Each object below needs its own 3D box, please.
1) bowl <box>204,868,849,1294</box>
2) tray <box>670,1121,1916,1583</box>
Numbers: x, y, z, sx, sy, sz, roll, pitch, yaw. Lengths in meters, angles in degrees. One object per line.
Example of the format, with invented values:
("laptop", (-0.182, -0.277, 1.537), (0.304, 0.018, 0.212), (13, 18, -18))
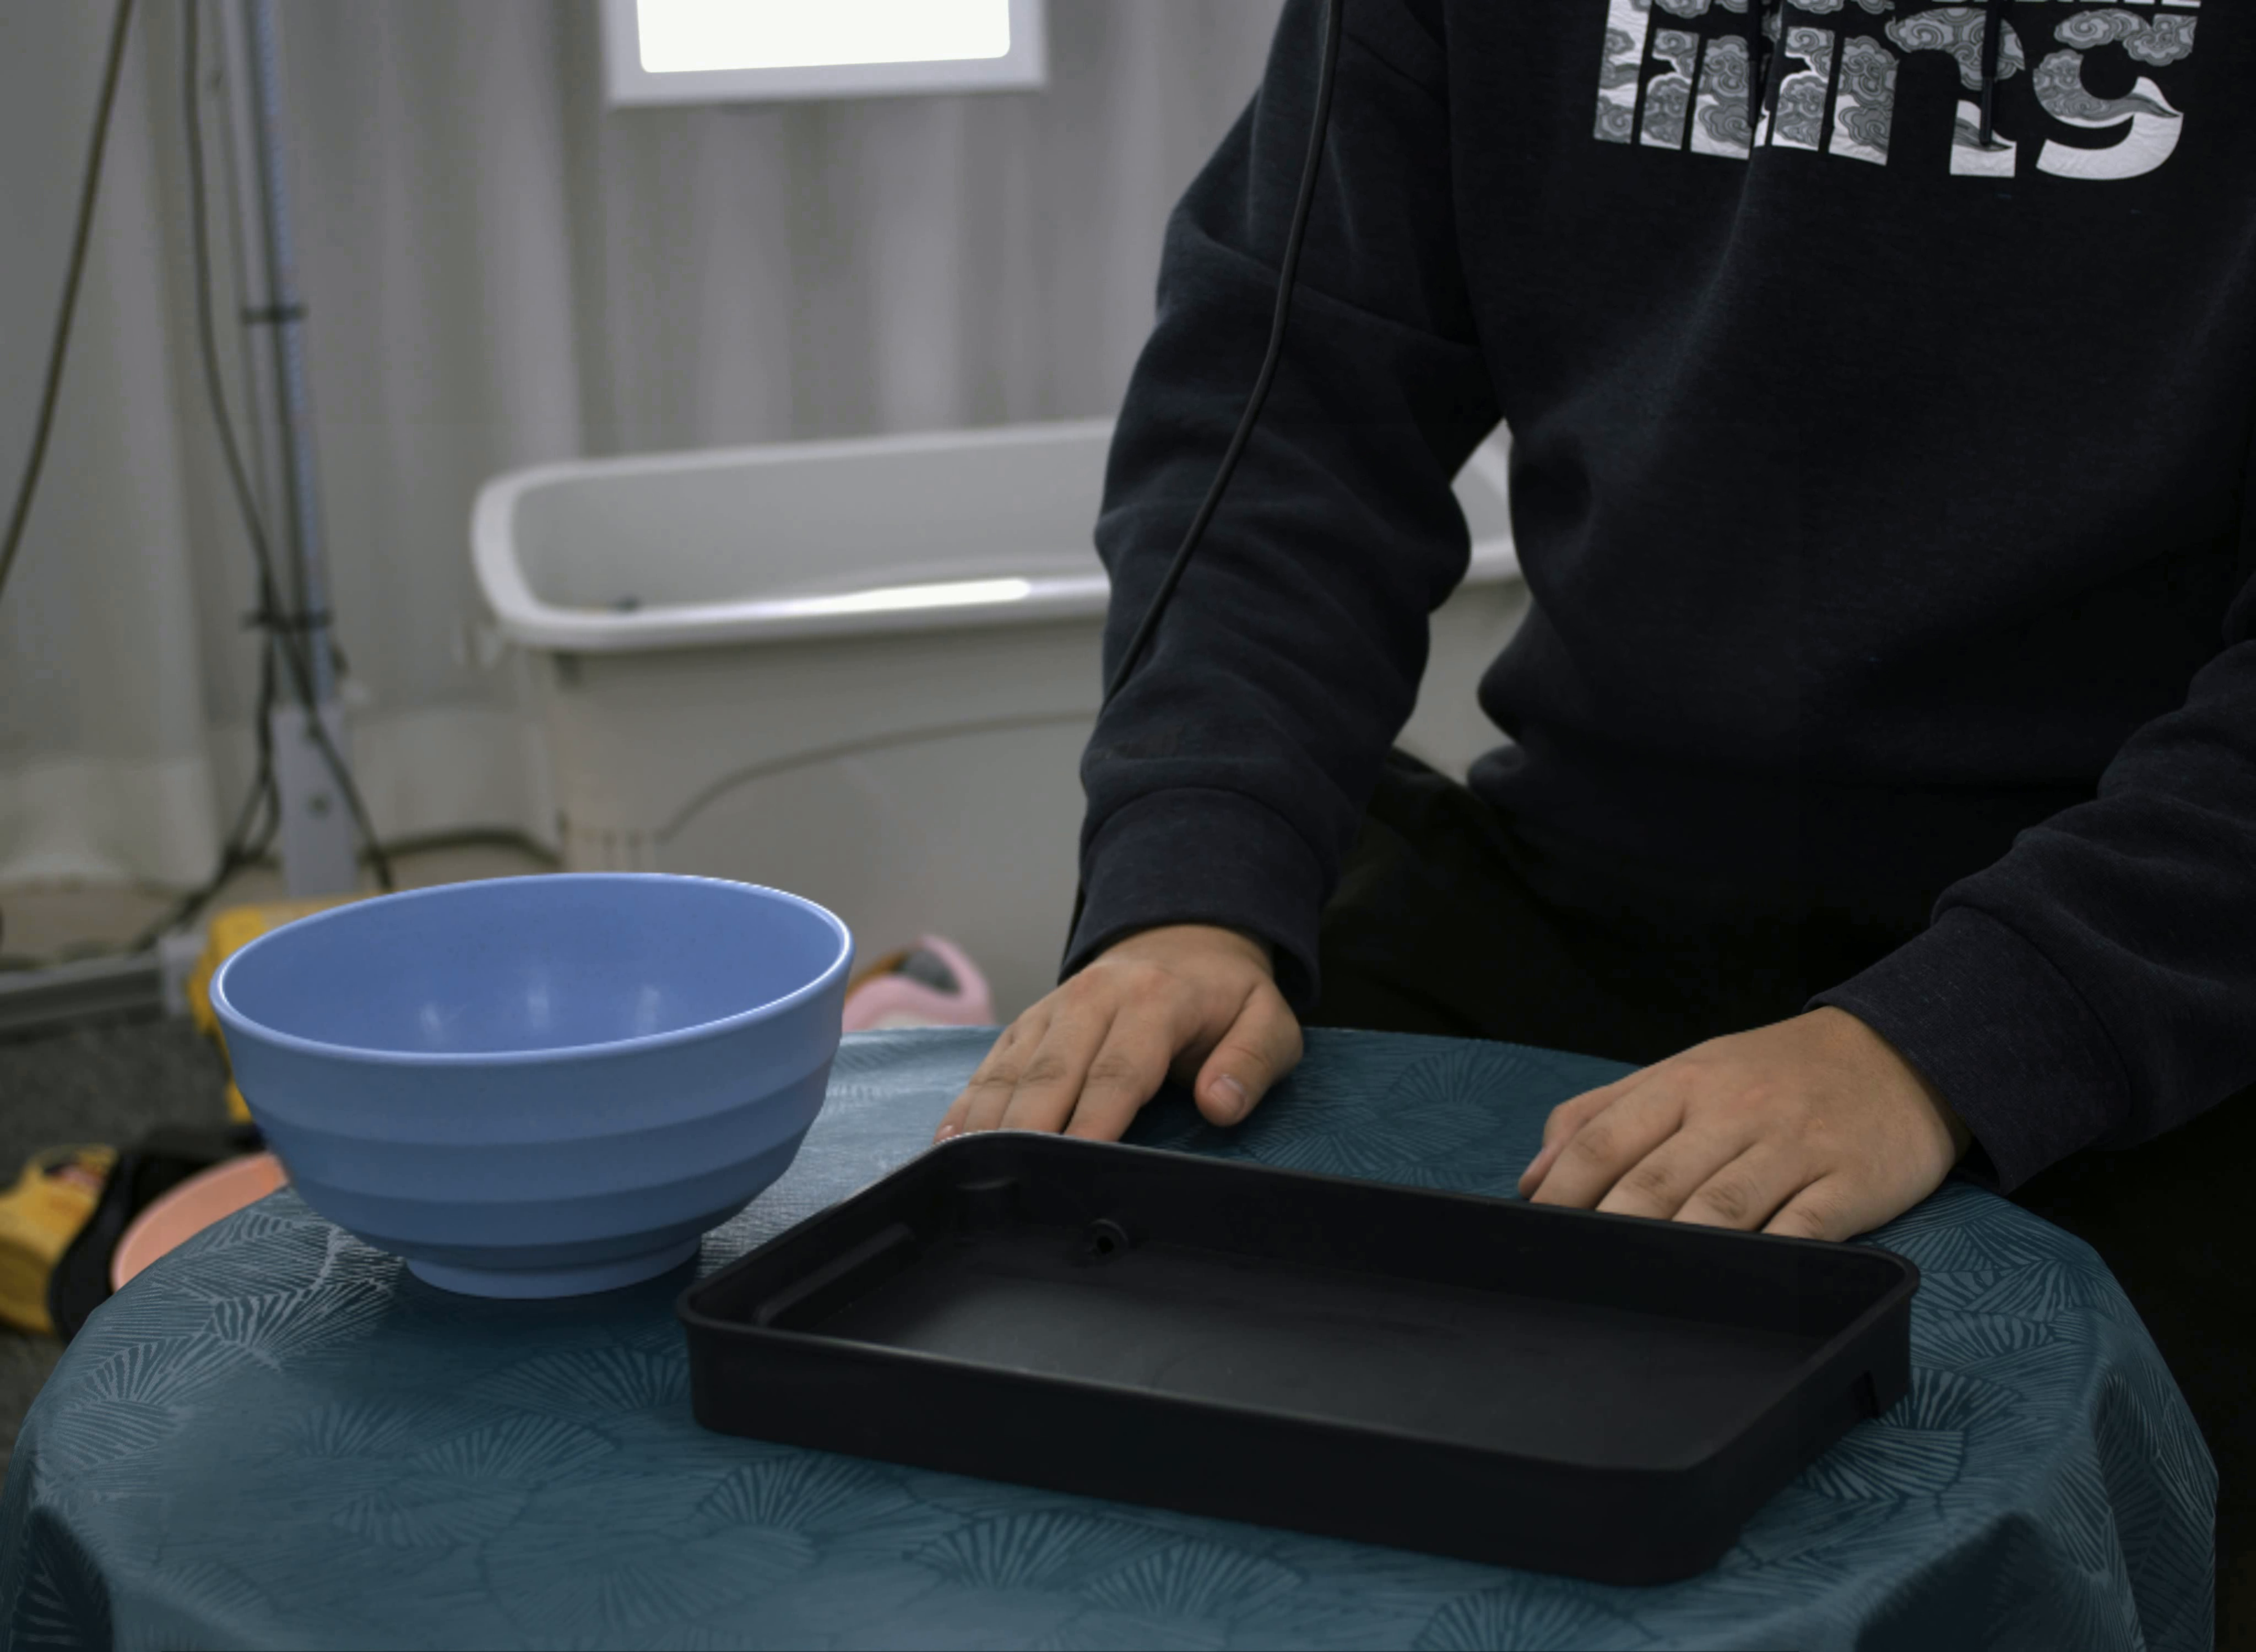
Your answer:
("bowl", (-0.179, 0.083, 1.675), (0.196, 0.095, 0.198), (-5, 14, 1))
("tray", (0.045, 0.143, 1.532), (0.319, 0.037, 0.184), (6, 17, 29))
